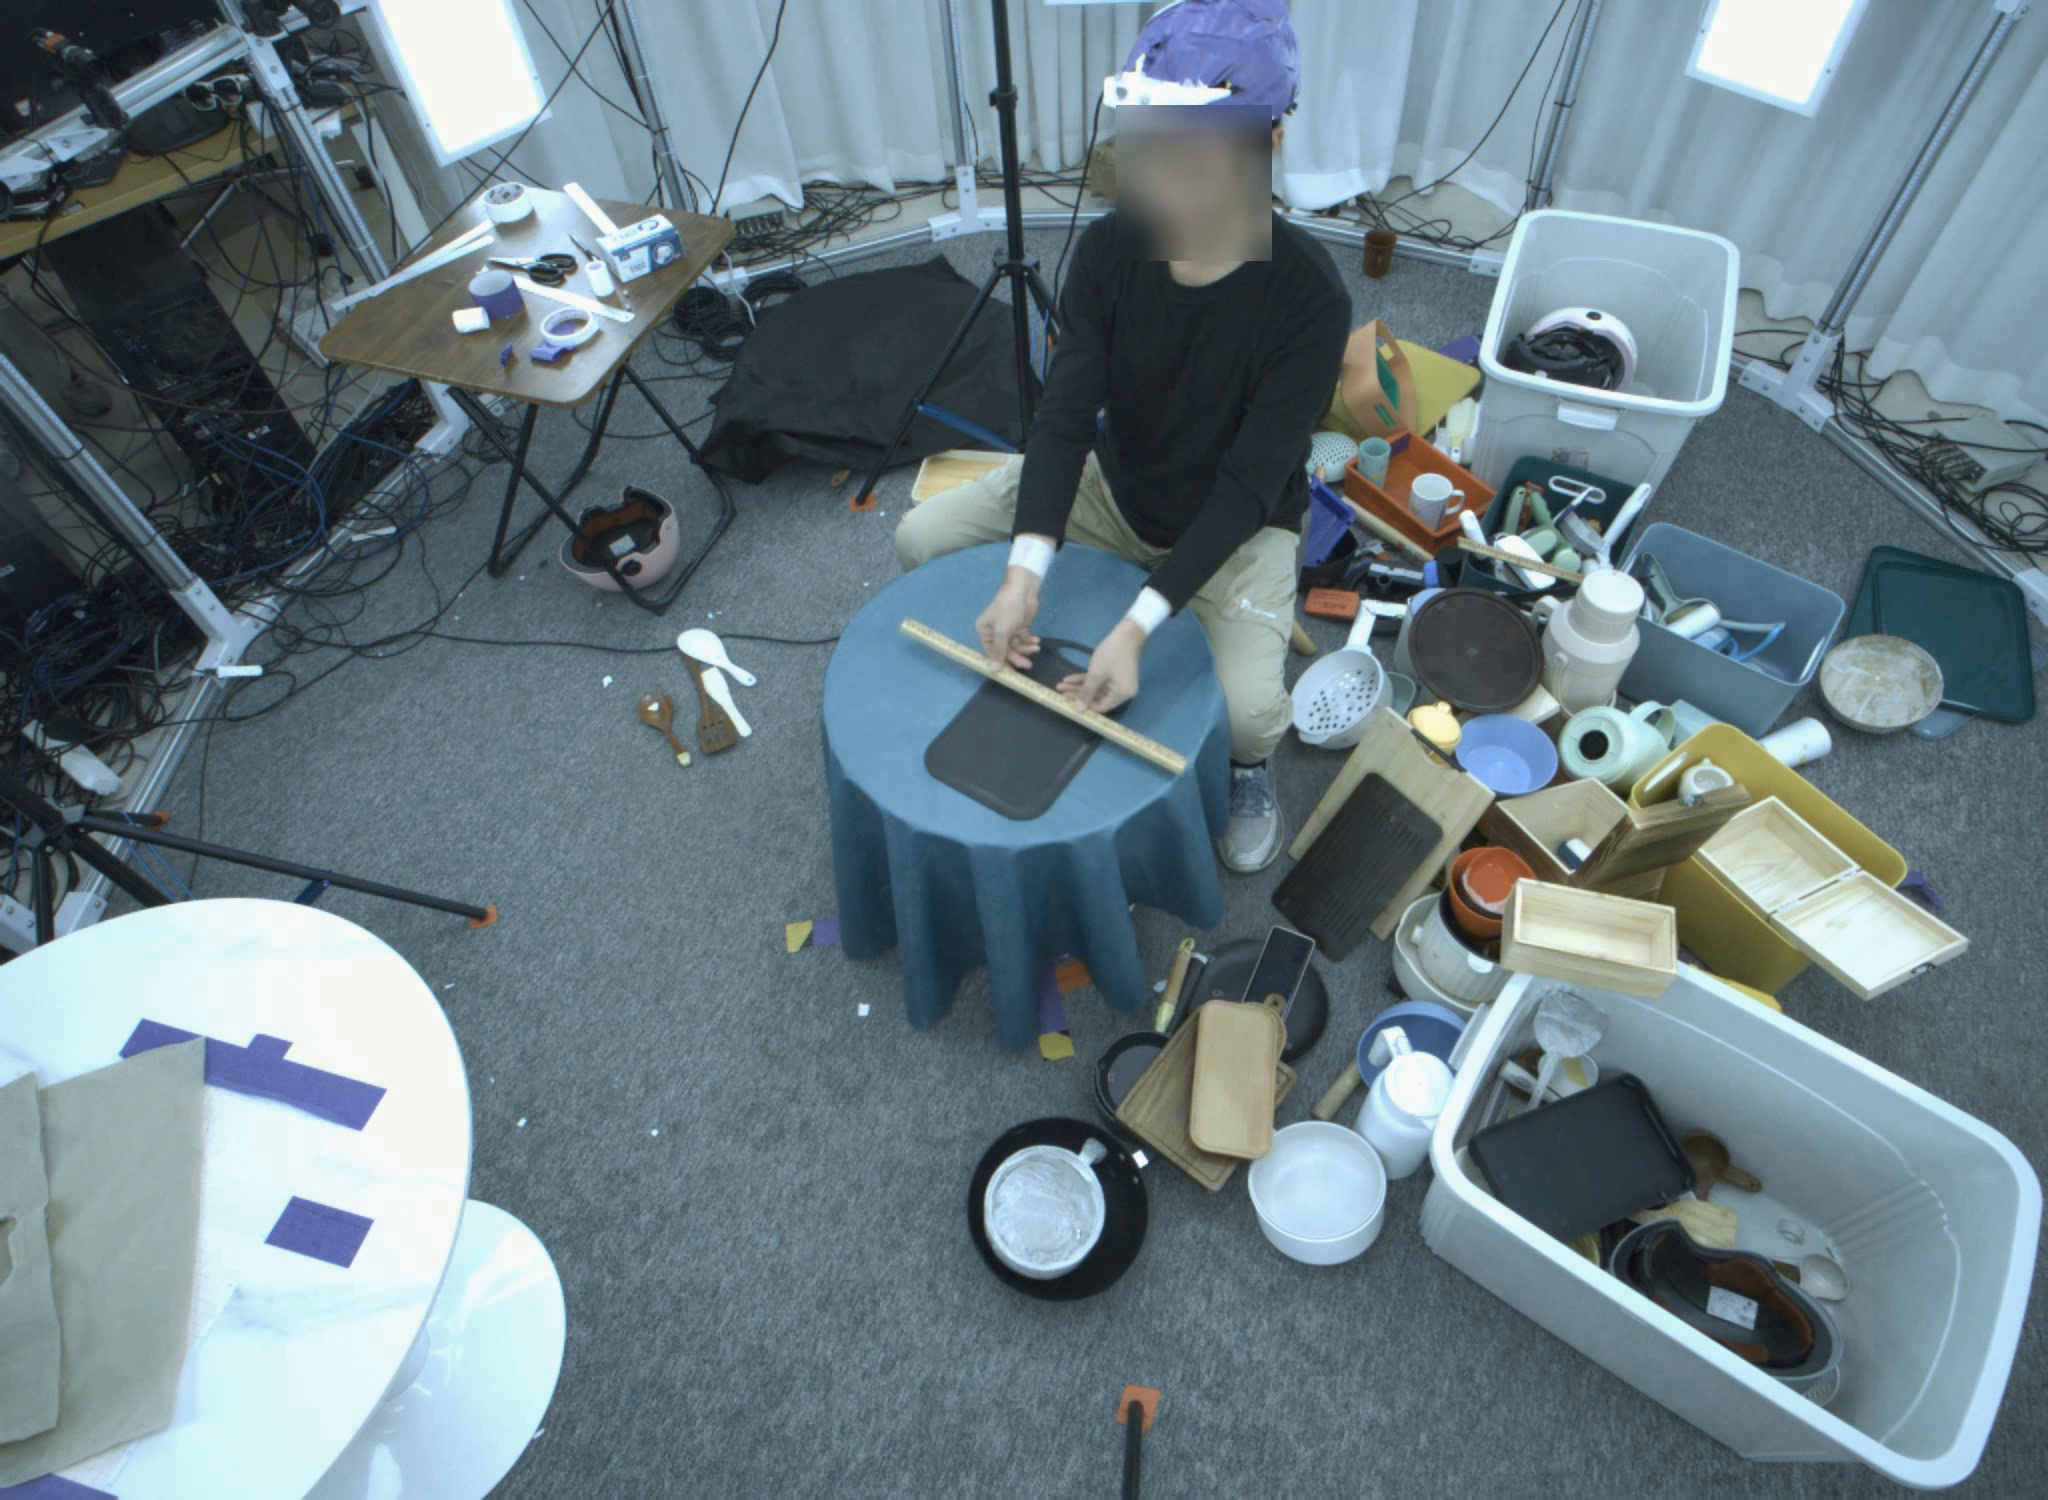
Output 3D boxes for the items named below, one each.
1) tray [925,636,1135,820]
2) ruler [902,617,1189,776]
[{"bbox_3d":[0.015,-0.046,1.815,0.208,0.010,0.327,29,61,20],"label":"tray"},{"bbox_3d":[0.022,-0.085,1.810,0.493,0.006,0.027,28,91,18],"label":"ruler"}]
